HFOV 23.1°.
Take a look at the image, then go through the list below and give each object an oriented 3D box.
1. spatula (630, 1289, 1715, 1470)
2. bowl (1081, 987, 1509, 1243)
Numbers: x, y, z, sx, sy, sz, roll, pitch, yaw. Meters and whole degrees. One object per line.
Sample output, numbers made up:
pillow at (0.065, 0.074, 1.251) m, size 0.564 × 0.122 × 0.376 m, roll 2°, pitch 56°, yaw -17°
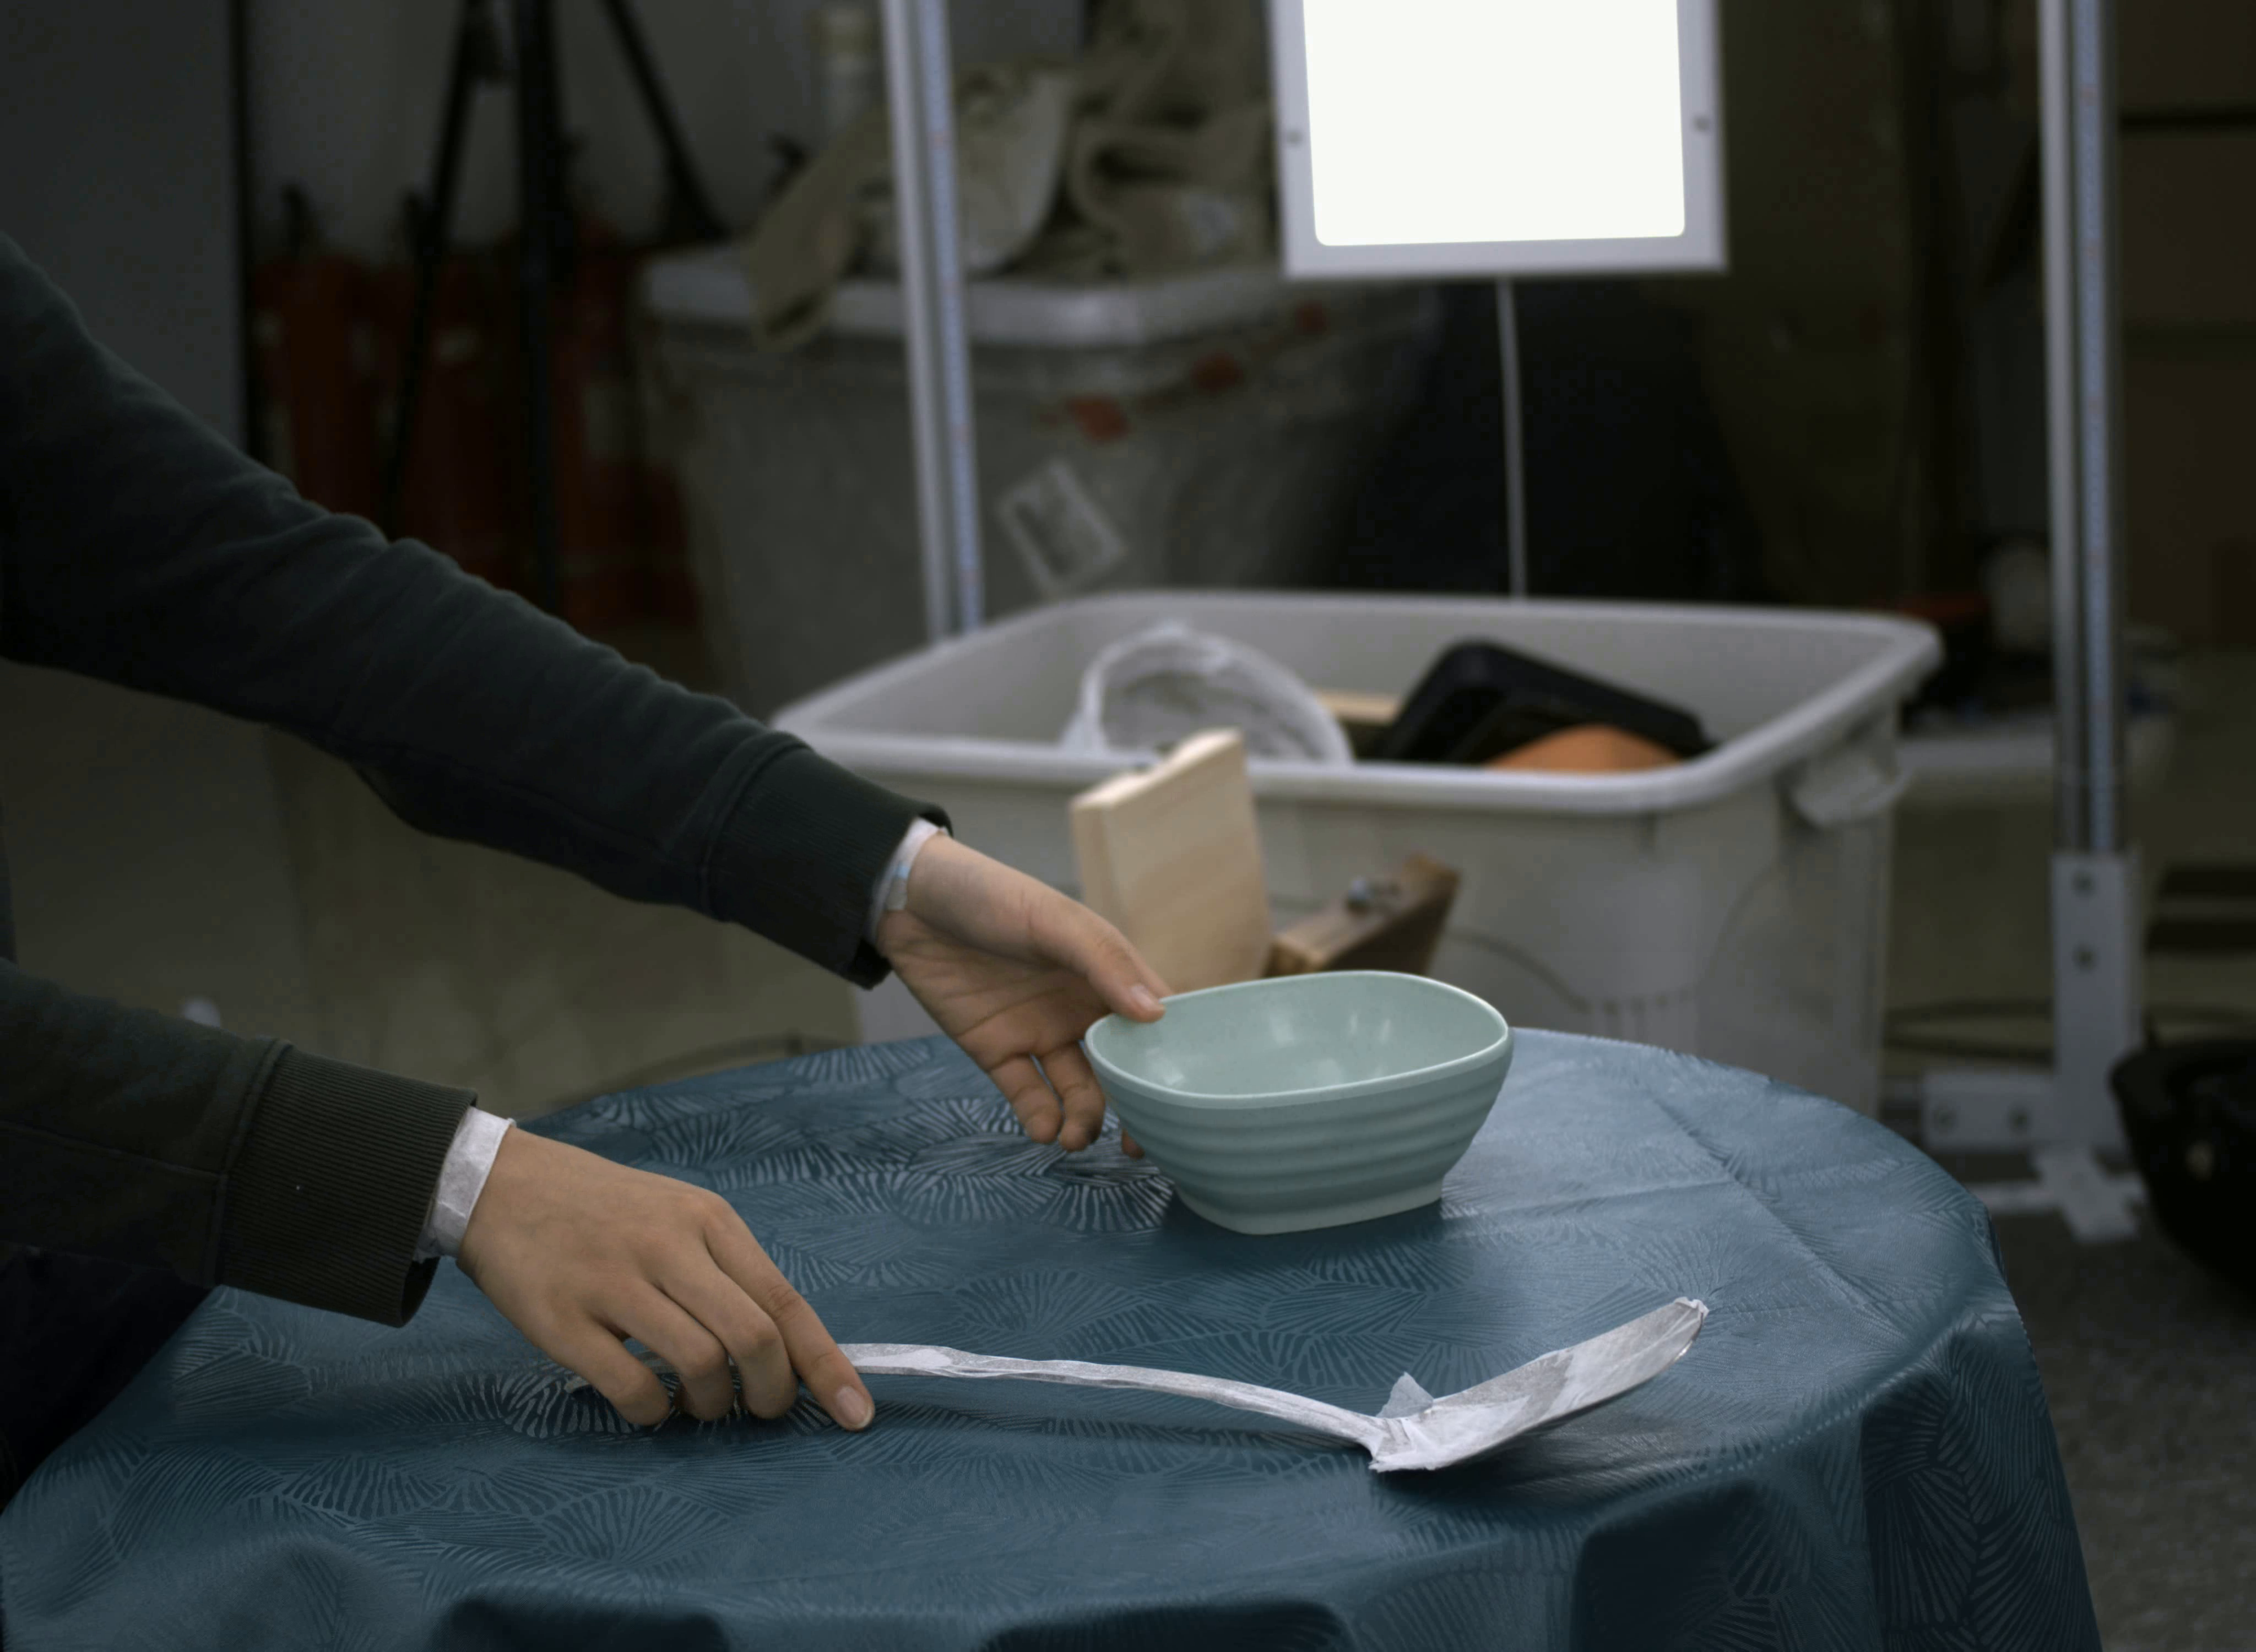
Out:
spatula at (0.000, 0.162, 1.670) m, size 0.371 × 0.045 × 0.096 m, roll 2°, pitch 17°, yaw 26°
bowl at (0.058, 0.101, 1.874) m, size 0.151 × 0.059 × 0.151 m, roll -4°, pitch 12°, yaw -1°
